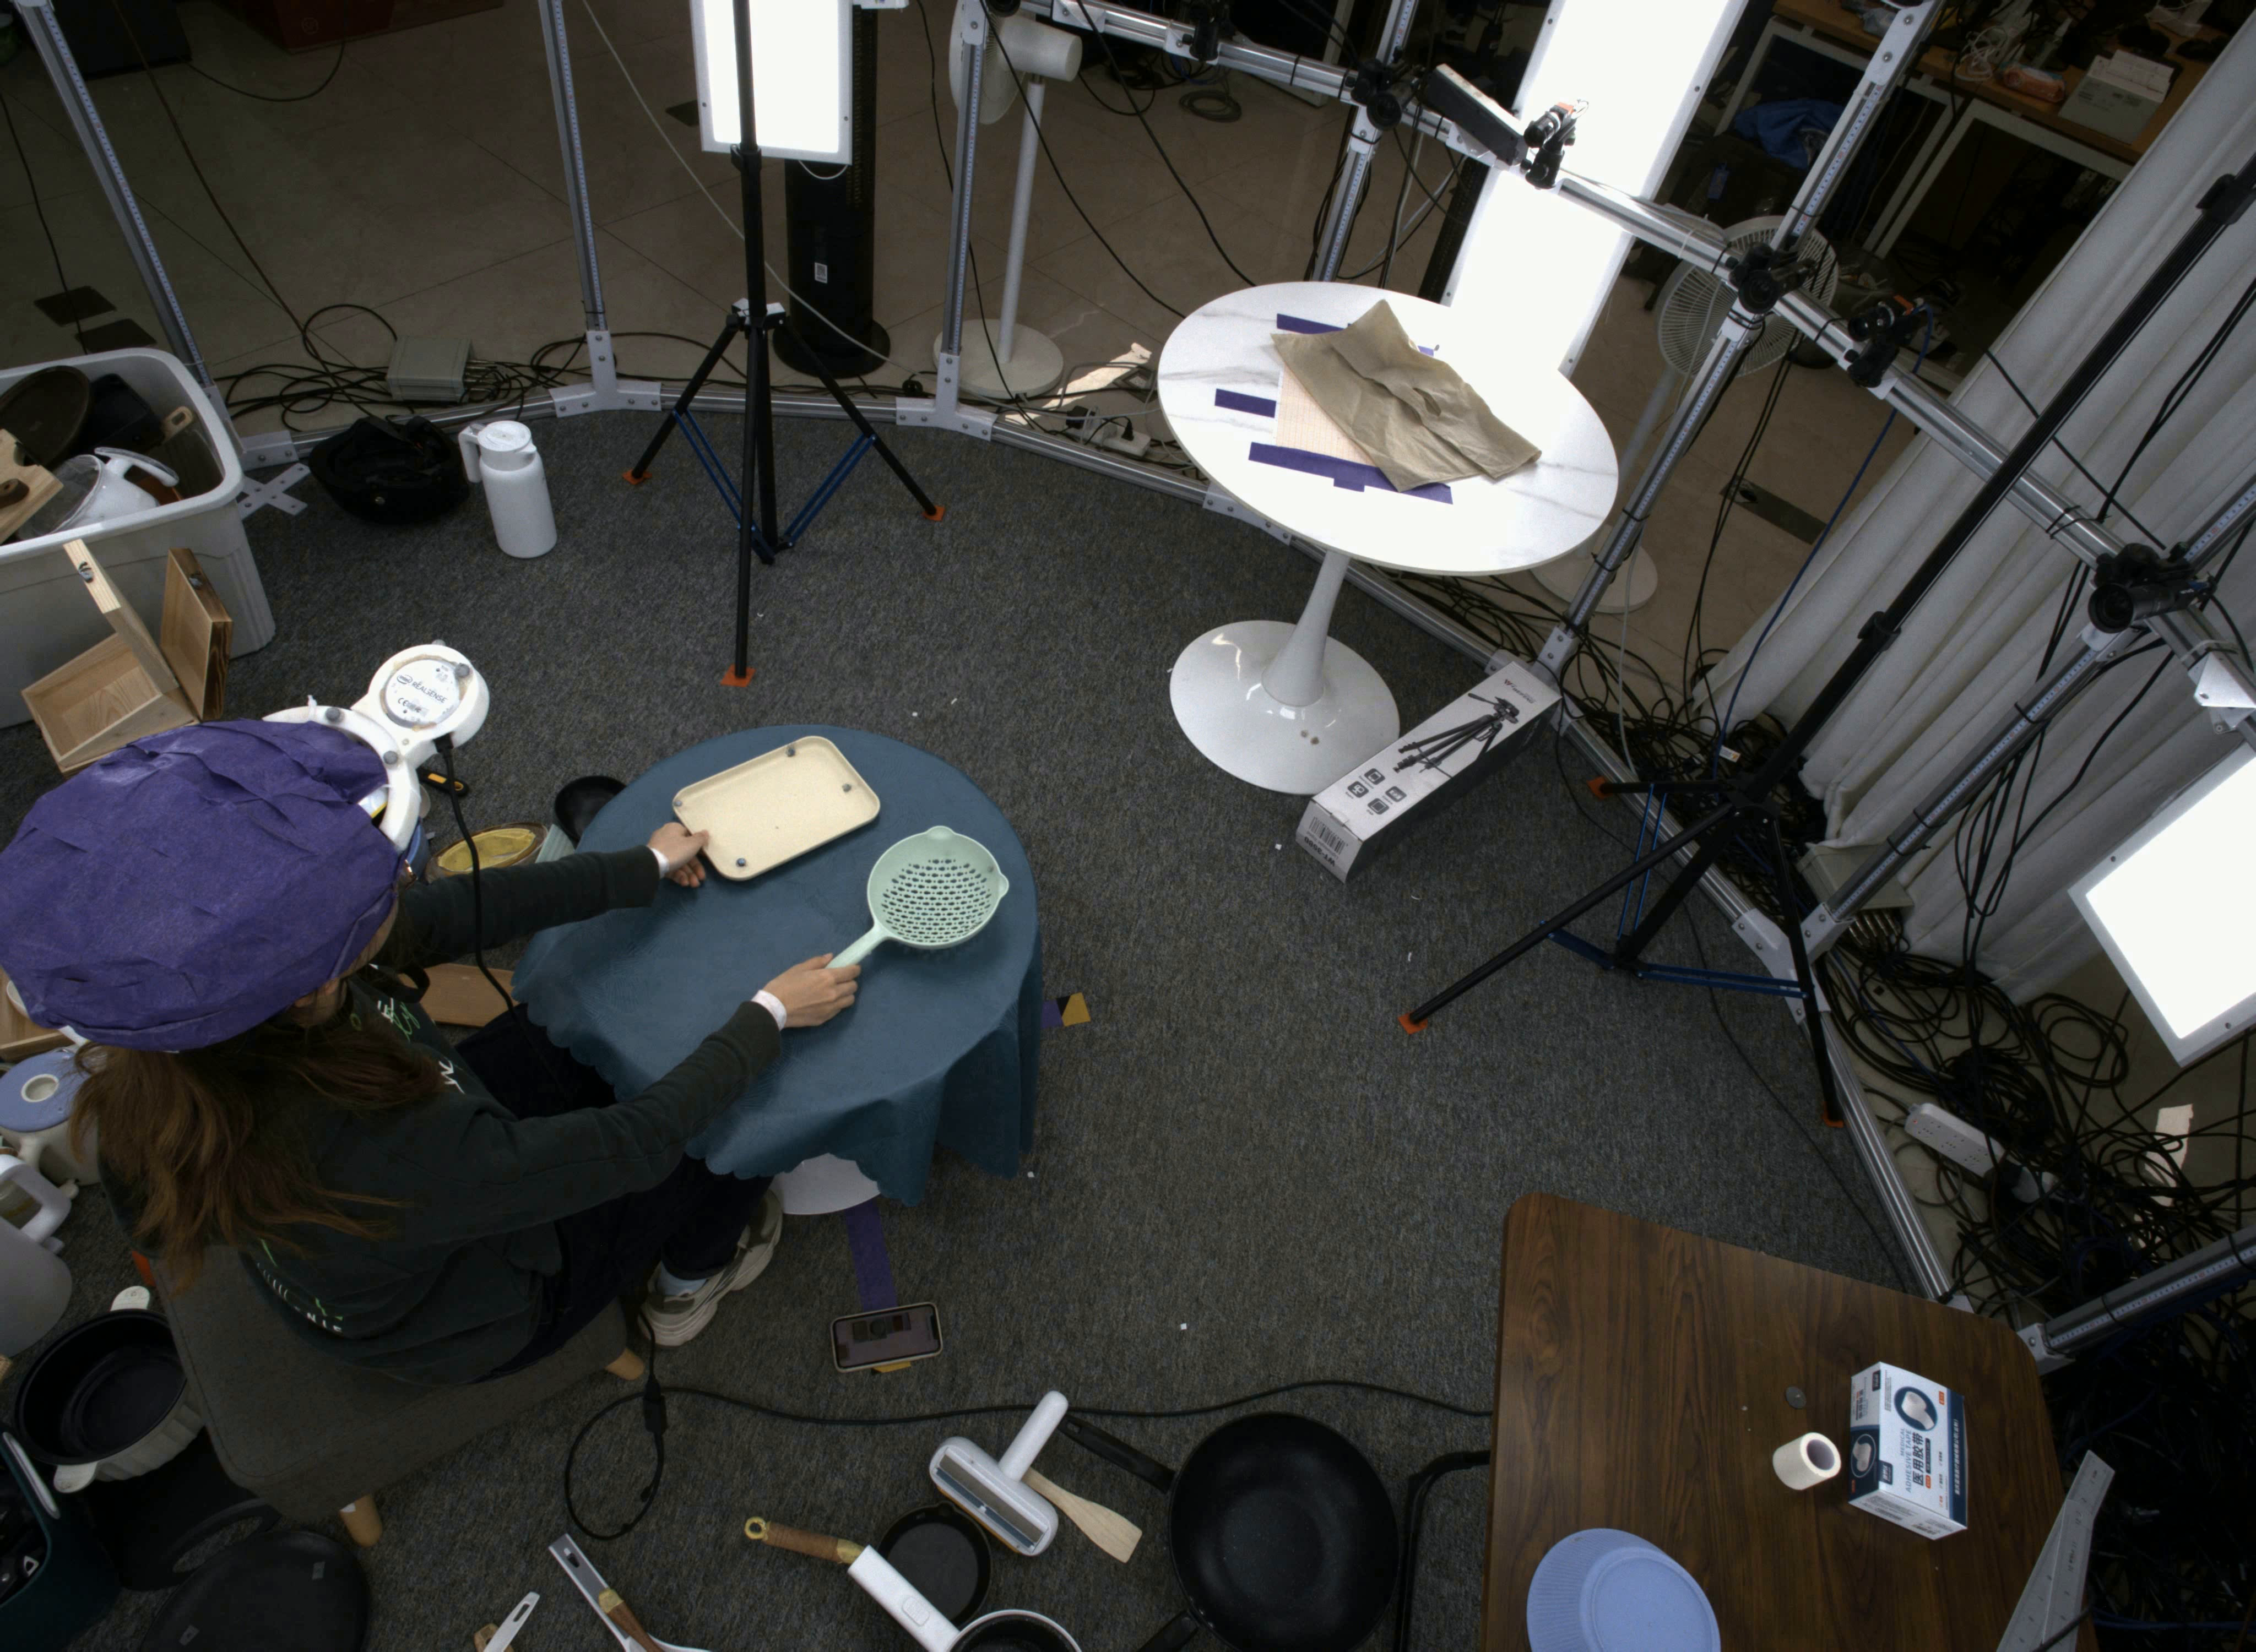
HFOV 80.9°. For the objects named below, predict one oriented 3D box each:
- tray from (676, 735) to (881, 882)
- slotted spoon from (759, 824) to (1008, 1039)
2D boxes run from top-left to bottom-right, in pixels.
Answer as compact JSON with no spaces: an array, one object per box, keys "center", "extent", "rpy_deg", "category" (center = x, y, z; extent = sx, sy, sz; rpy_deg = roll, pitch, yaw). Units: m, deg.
[{"center":[-0.464,-0.026,1.723],"extent":[0.240,0.018,0.167],"rpy_deg":[-29,66,-32],"category":"tray"},{"center":[-0.312,0.137,1.614],"extent":[0.165,0.077,0.359],"rpy_deg":[39,54,21],"category":"slotted spoon"}]
